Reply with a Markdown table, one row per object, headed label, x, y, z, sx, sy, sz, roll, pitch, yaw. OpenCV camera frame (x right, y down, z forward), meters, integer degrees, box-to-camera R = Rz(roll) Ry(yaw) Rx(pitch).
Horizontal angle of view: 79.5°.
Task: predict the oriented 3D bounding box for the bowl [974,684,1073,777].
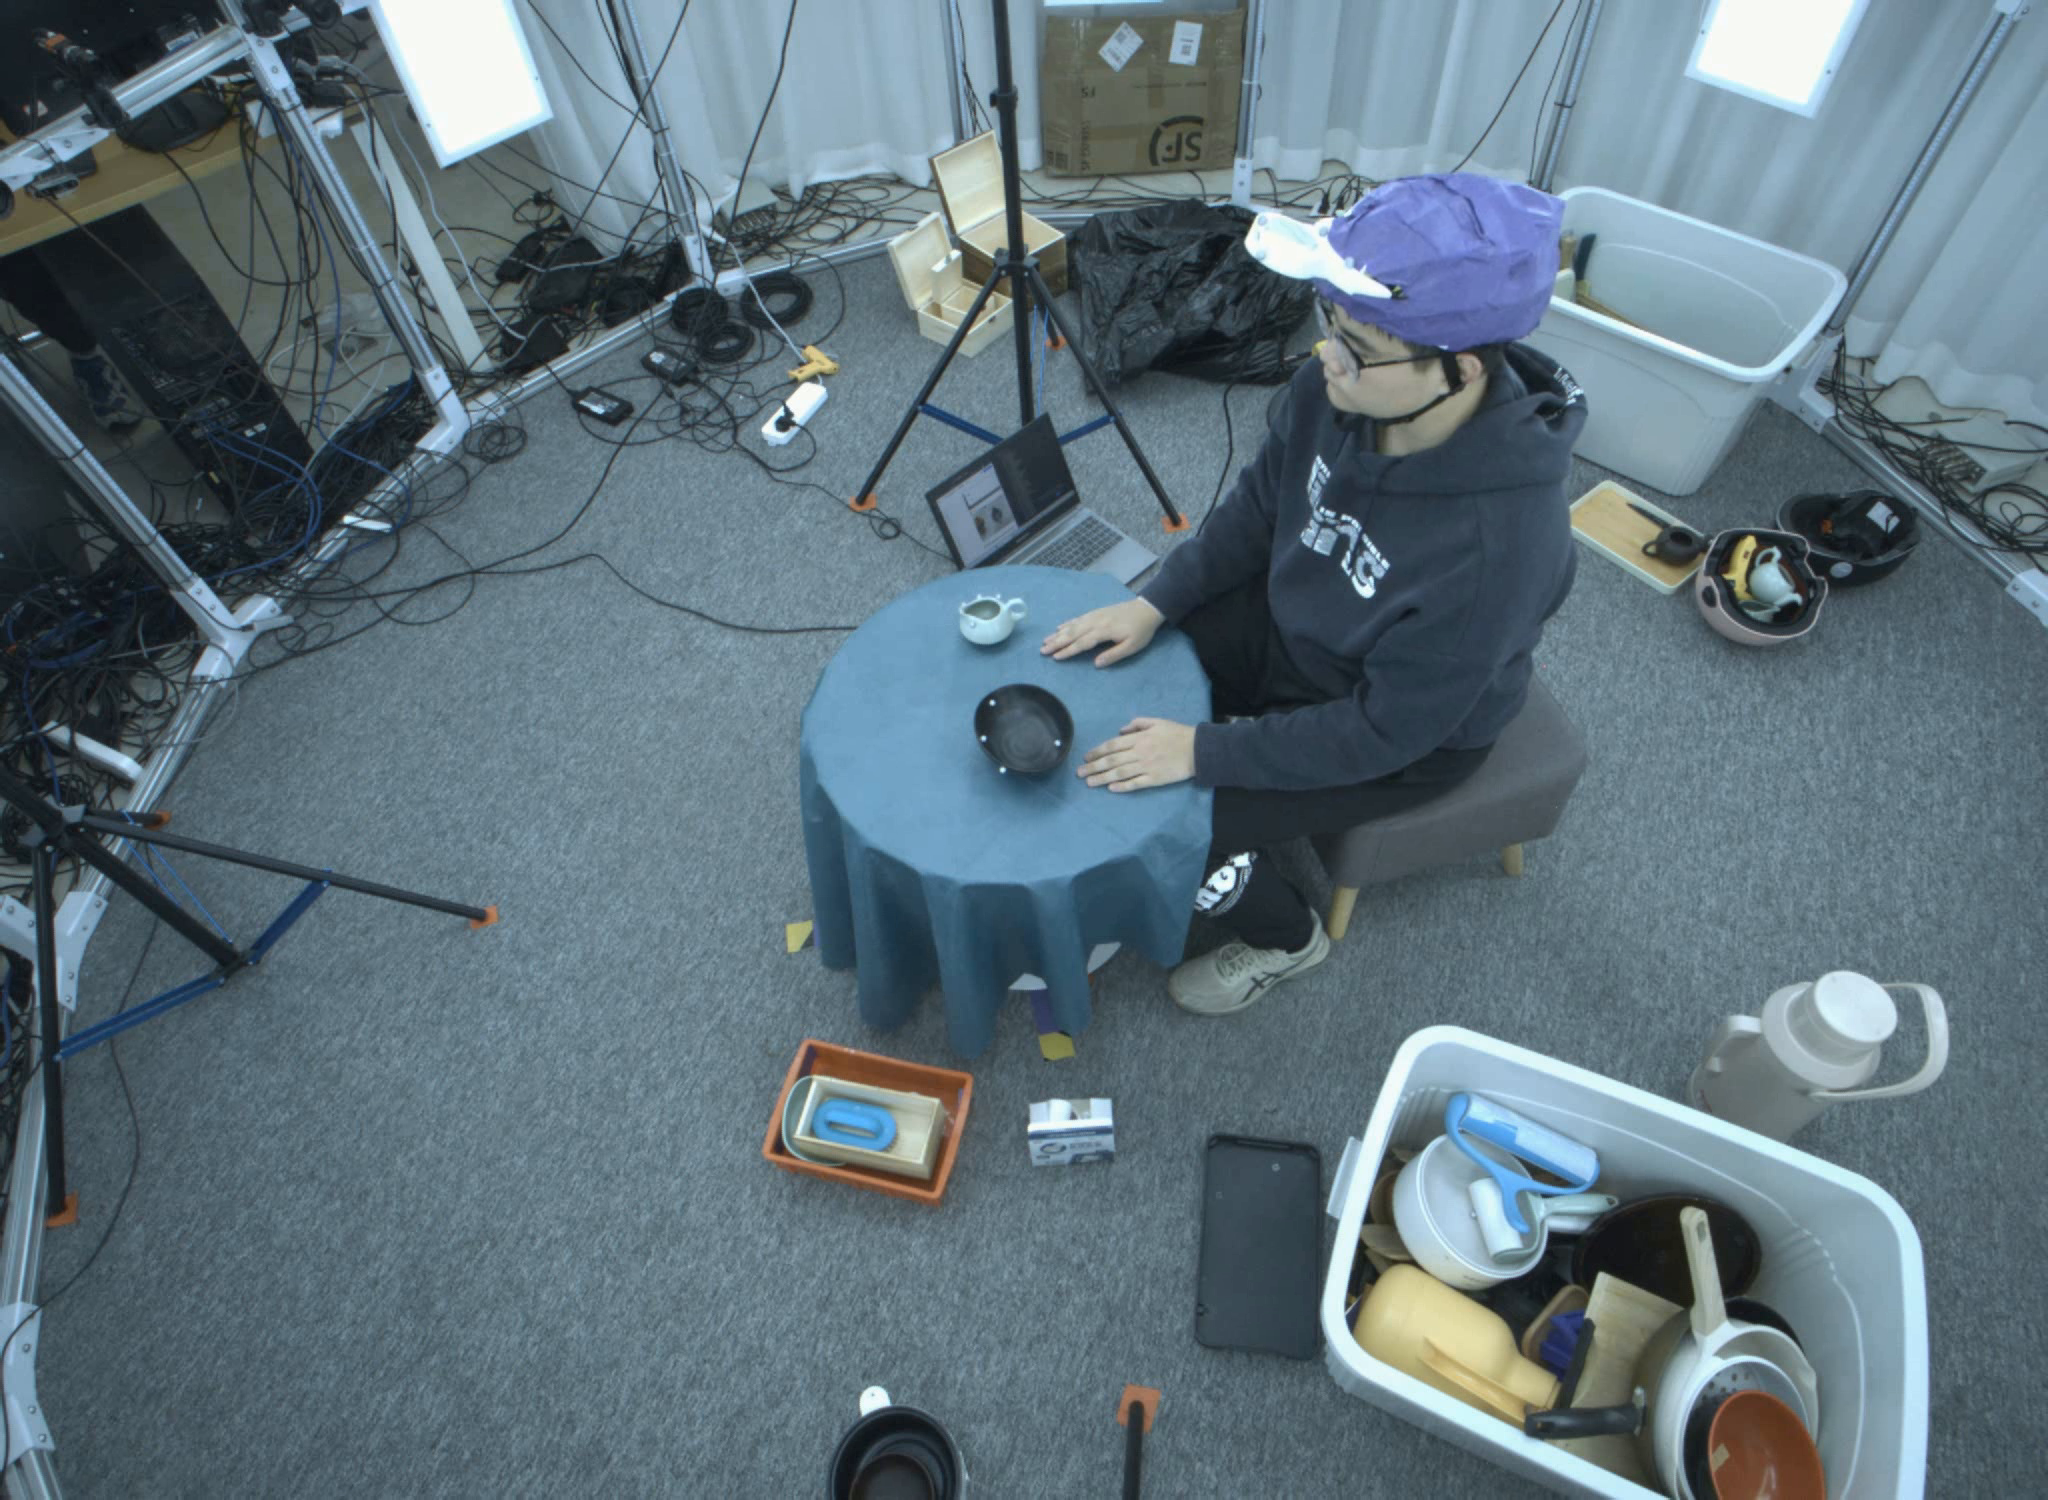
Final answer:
| label | x | y | z | sx | sy | sz | roll | pitch | yaw |
| --- | --- | --- | --- | --- | --- | --- | --- | --- | --- |
| bowl | -0.002 | -0.019 | 1.763 | 0.138 | 0.067 | 0.167 | -20 | 56 | -13 |

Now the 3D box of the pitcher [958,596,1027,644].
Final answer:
| label | x | y | z | sx | sy | sz | roll | pitch | yaw |
| --- | --- | --- | --- | --- | --- | --- | --- | --- | --- |
| pitcher | -0.049 | -0.206 | 1.900 | 0.108 | 0.061 | 0.085 | -9 | 56 | -7 |
